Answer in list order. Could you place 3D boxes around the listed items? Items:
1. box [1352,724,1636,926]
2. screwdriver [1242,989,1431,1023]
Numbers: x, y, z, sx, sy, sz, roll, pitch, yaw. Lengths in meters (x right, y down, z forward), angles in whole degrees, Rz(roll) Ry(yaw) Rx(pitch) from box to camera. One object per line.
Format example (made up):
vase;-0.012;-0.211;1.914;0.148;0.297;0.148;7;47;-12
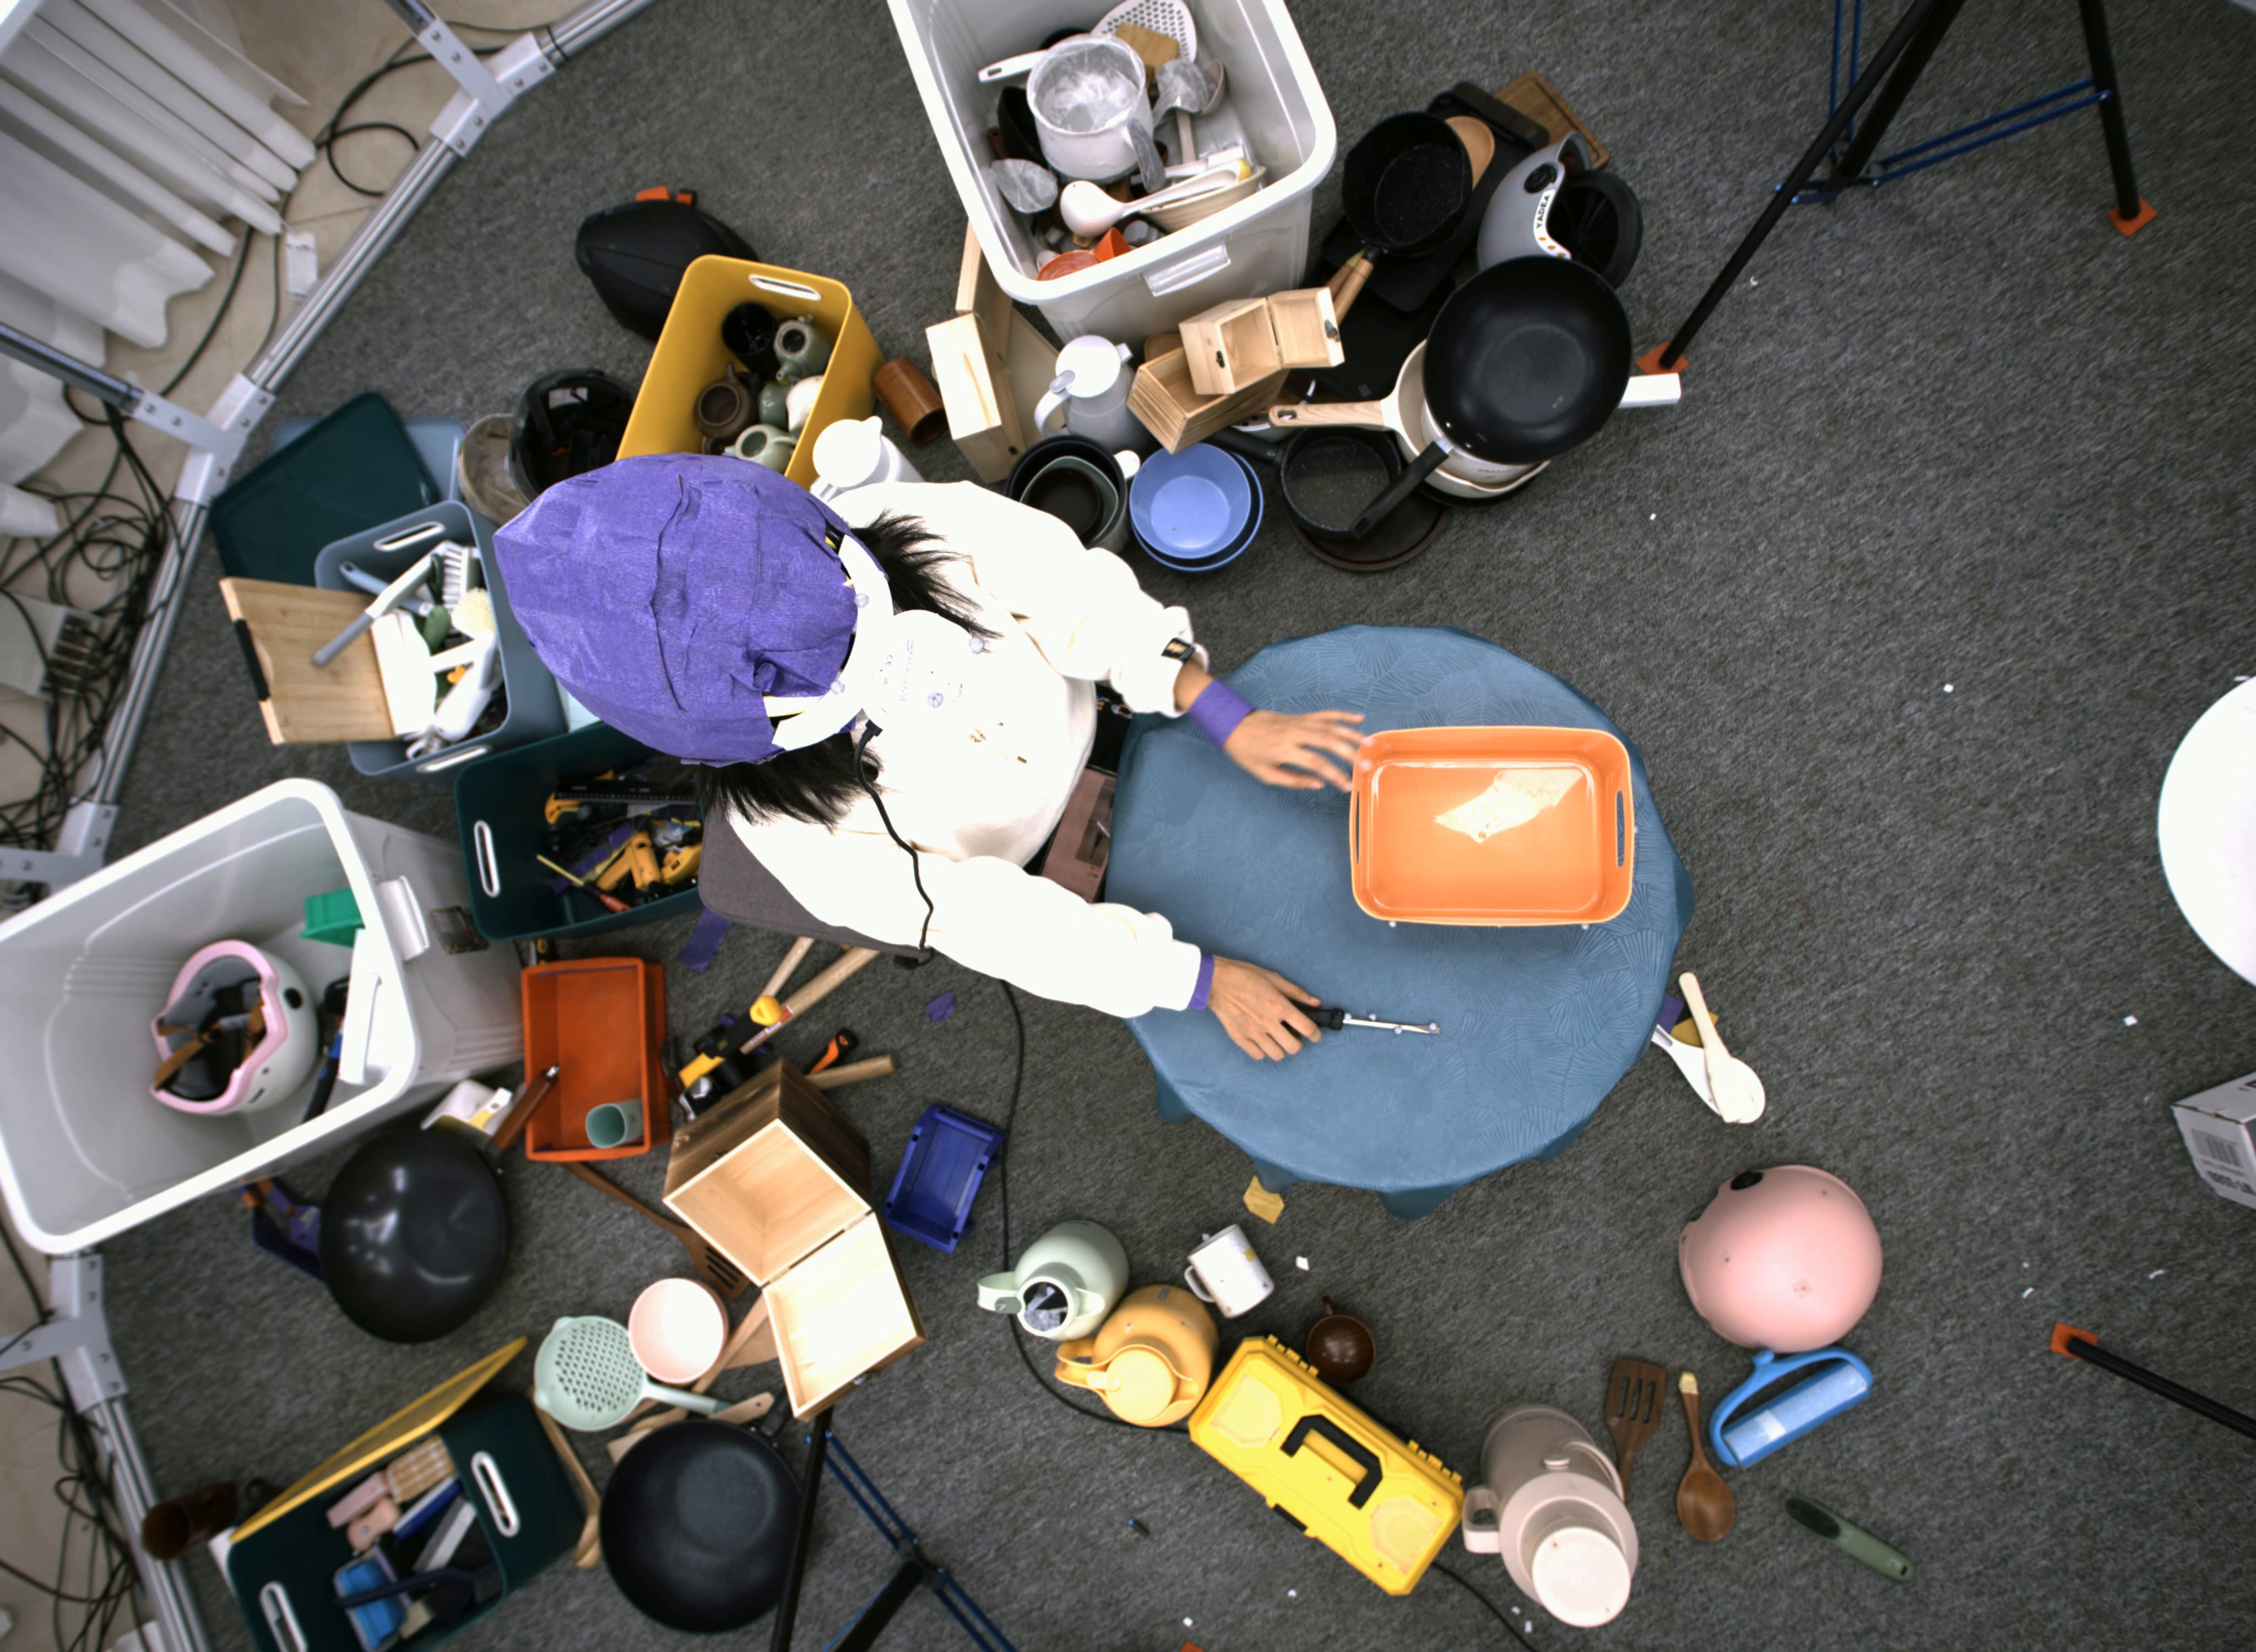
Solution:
box;0.364;0.001;1.394;0.274;0.102;0.198;0;87;10
screwdriver;0.217;0.188;1.443;0.198;0.031;0.031;4;86;0
